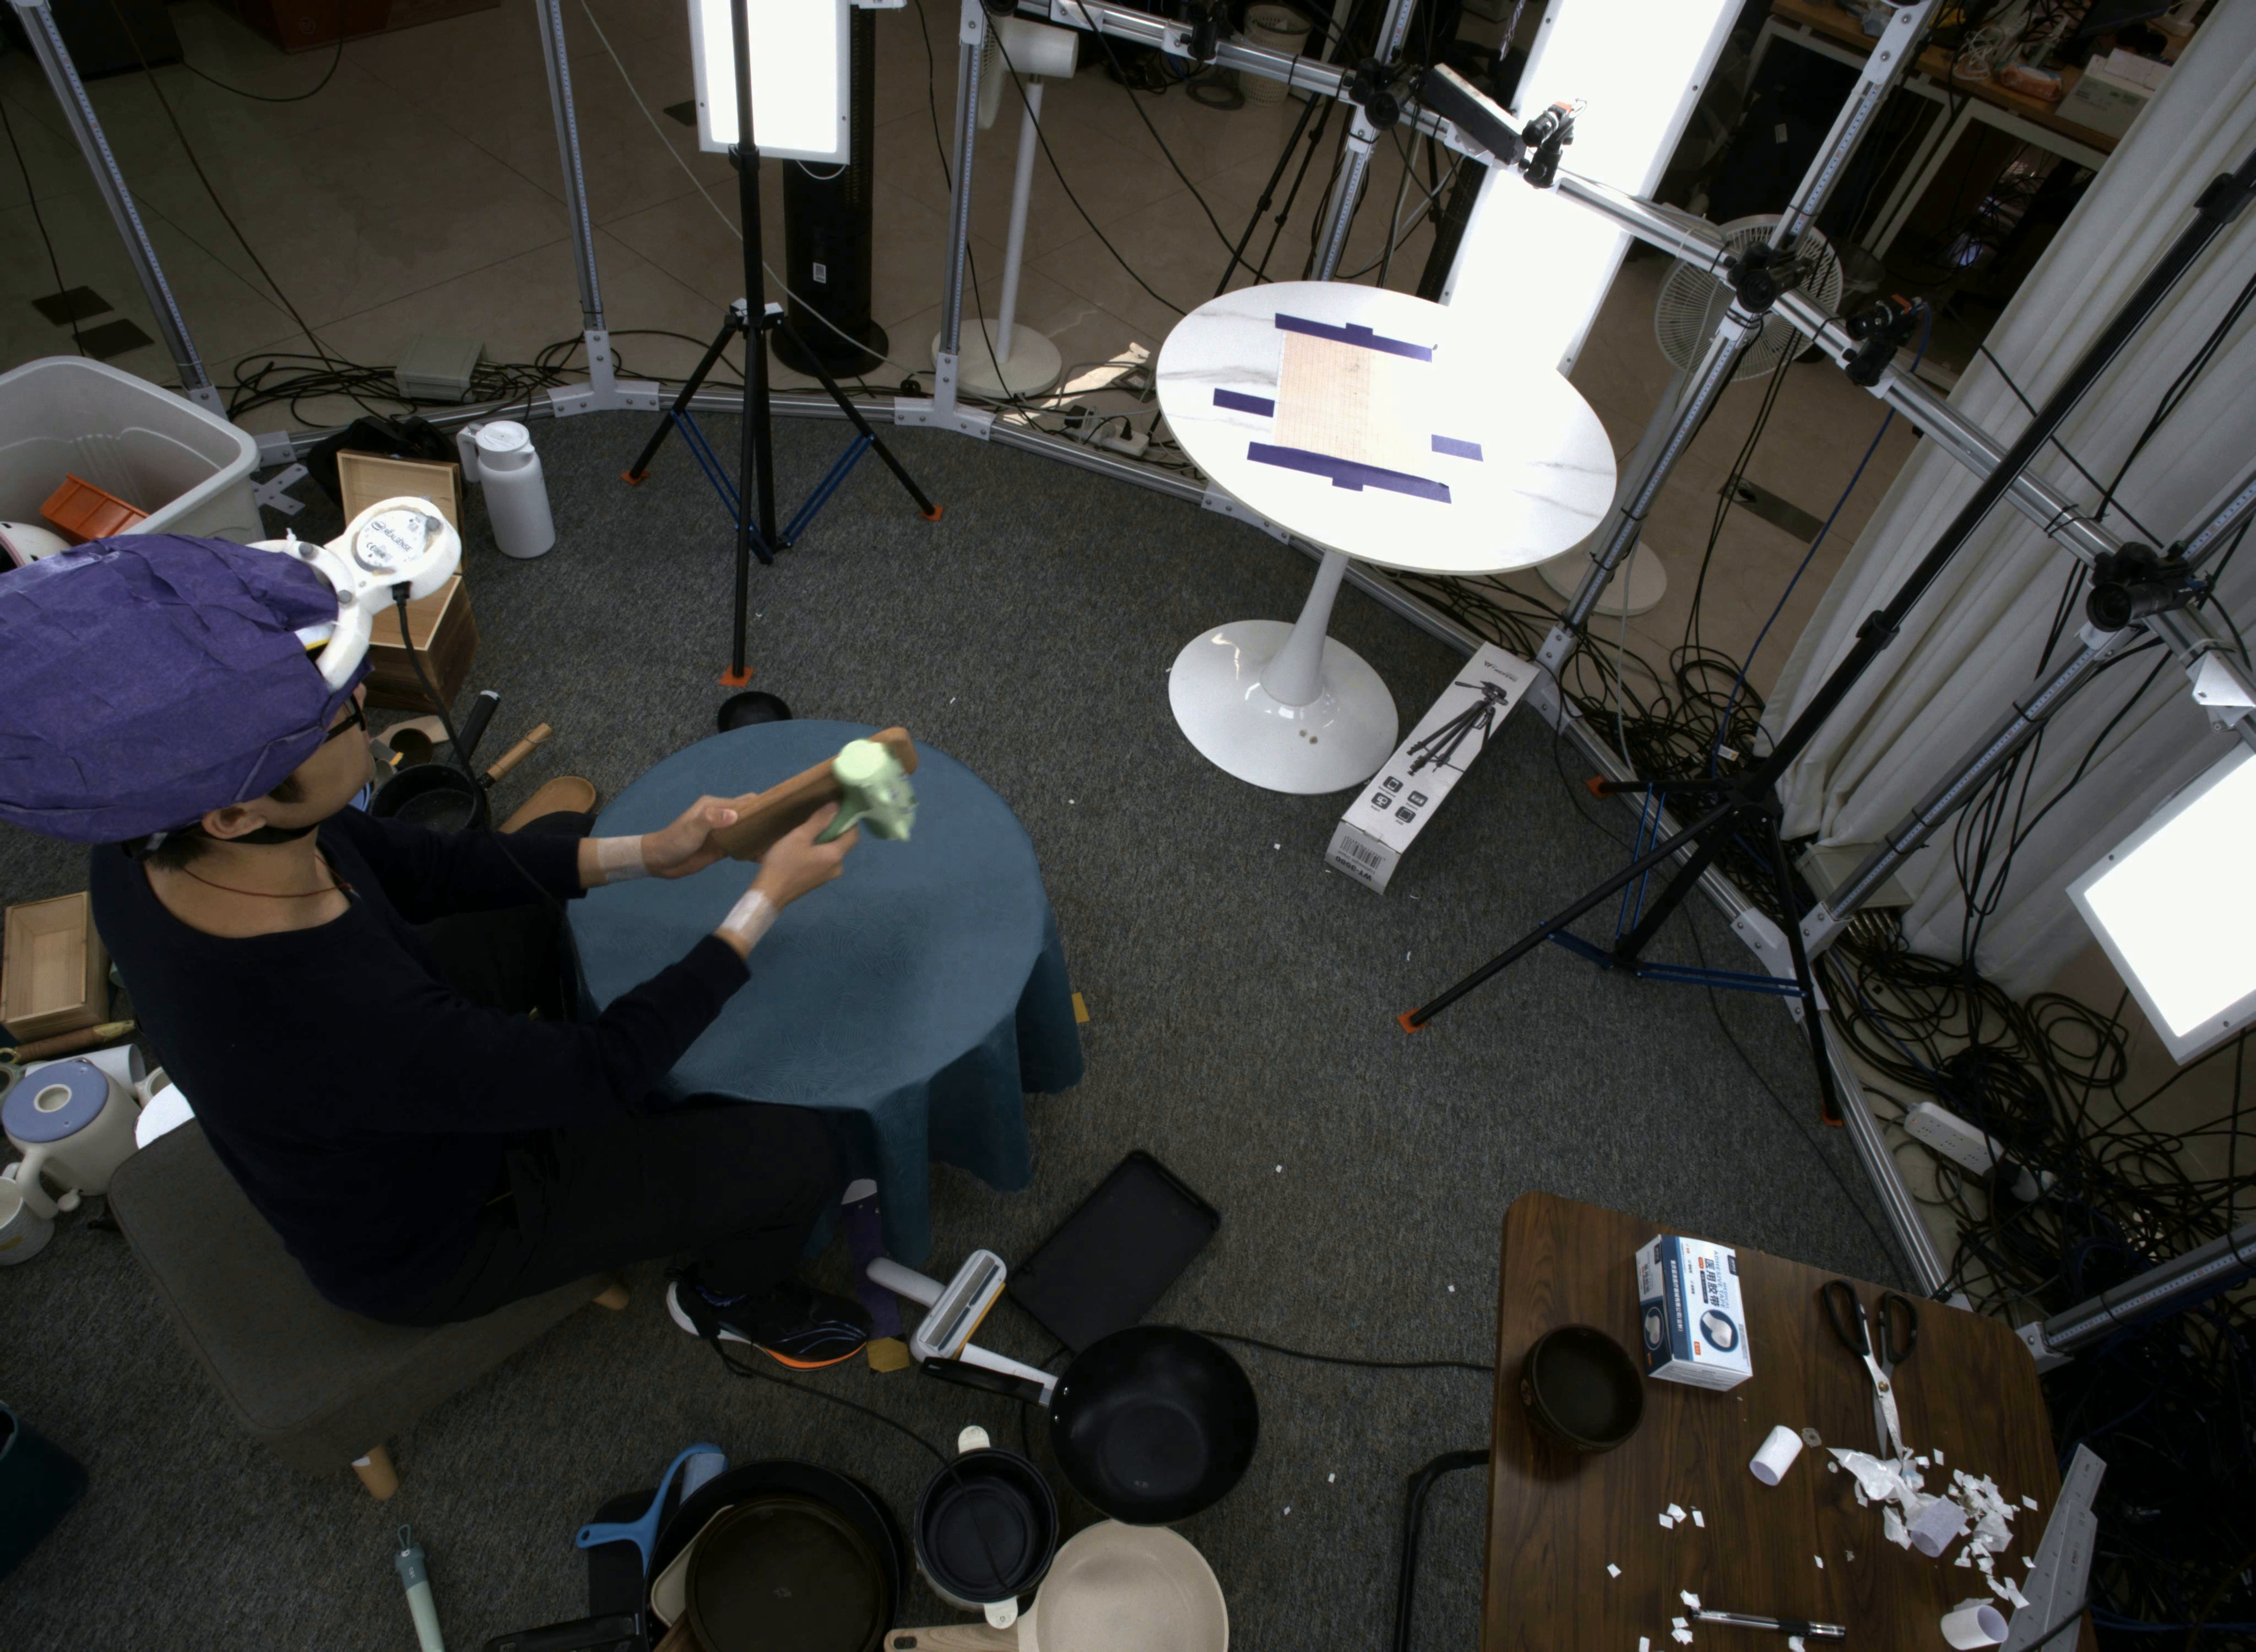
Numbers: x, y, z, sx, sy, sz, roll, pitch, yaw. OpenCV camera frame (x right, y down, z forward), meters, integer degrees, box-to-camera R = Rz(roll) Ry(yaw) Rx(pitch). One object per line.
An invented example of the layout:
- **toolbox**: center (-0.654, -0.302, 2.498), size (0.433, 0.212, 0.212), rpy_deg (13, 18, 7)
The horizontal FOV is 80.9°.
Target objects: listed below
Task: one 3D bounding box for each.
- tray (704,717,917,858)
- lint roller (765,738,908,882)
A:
- **tray**: center (-0.357, -0.042, 1.481), size (0.250, 0.133, 0.022), rpy_deg (-30, 71, -10)
- **lint roller**: center (-0.324, 0.005, 1.463), size (0.081, 0.202, 0.183), rpy_deg (34, 74, 12)
